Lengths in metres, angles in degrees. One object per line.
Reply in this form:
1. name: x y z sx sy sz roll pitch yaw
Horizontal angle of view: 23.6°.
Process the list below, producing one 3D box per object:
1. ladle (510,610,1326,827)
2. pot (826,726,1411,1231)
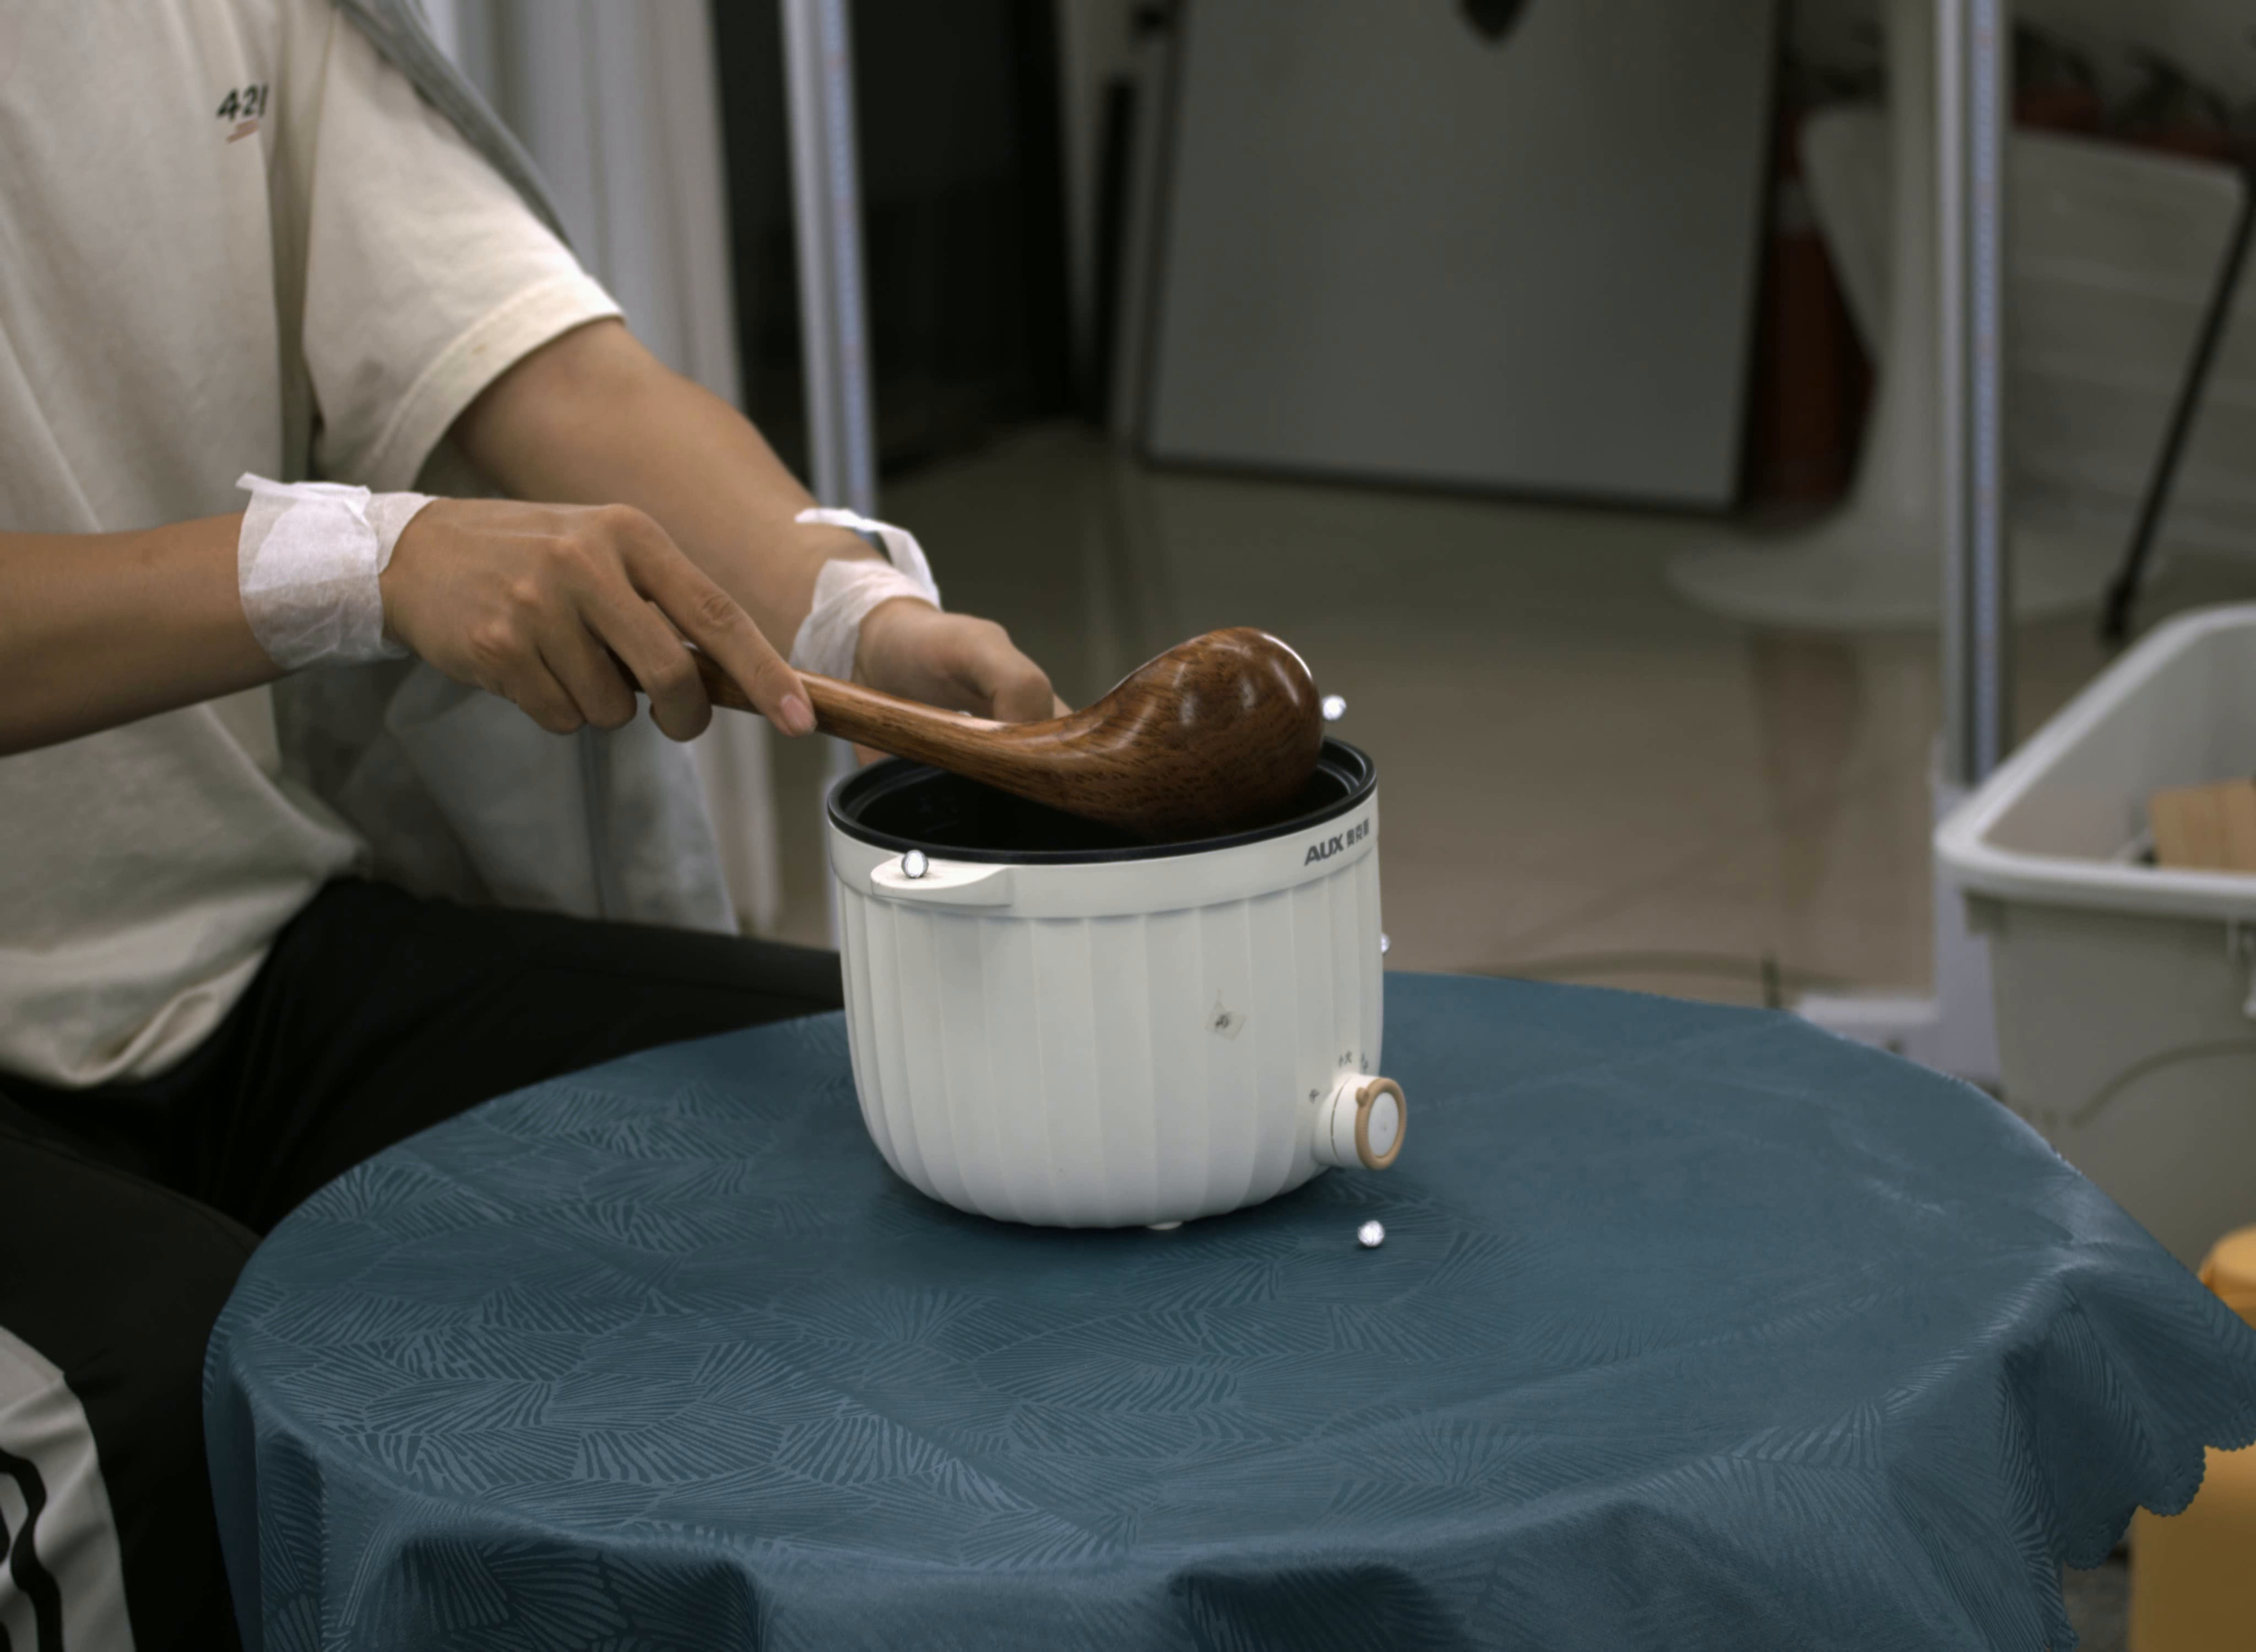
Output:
1. ladle: -0.068 -0.048 1.771 0.274 0.082 0.076 11 33 23
2. pot: 0.001 0.050 1.772 0.191 0.144 0.236 1 15 33
